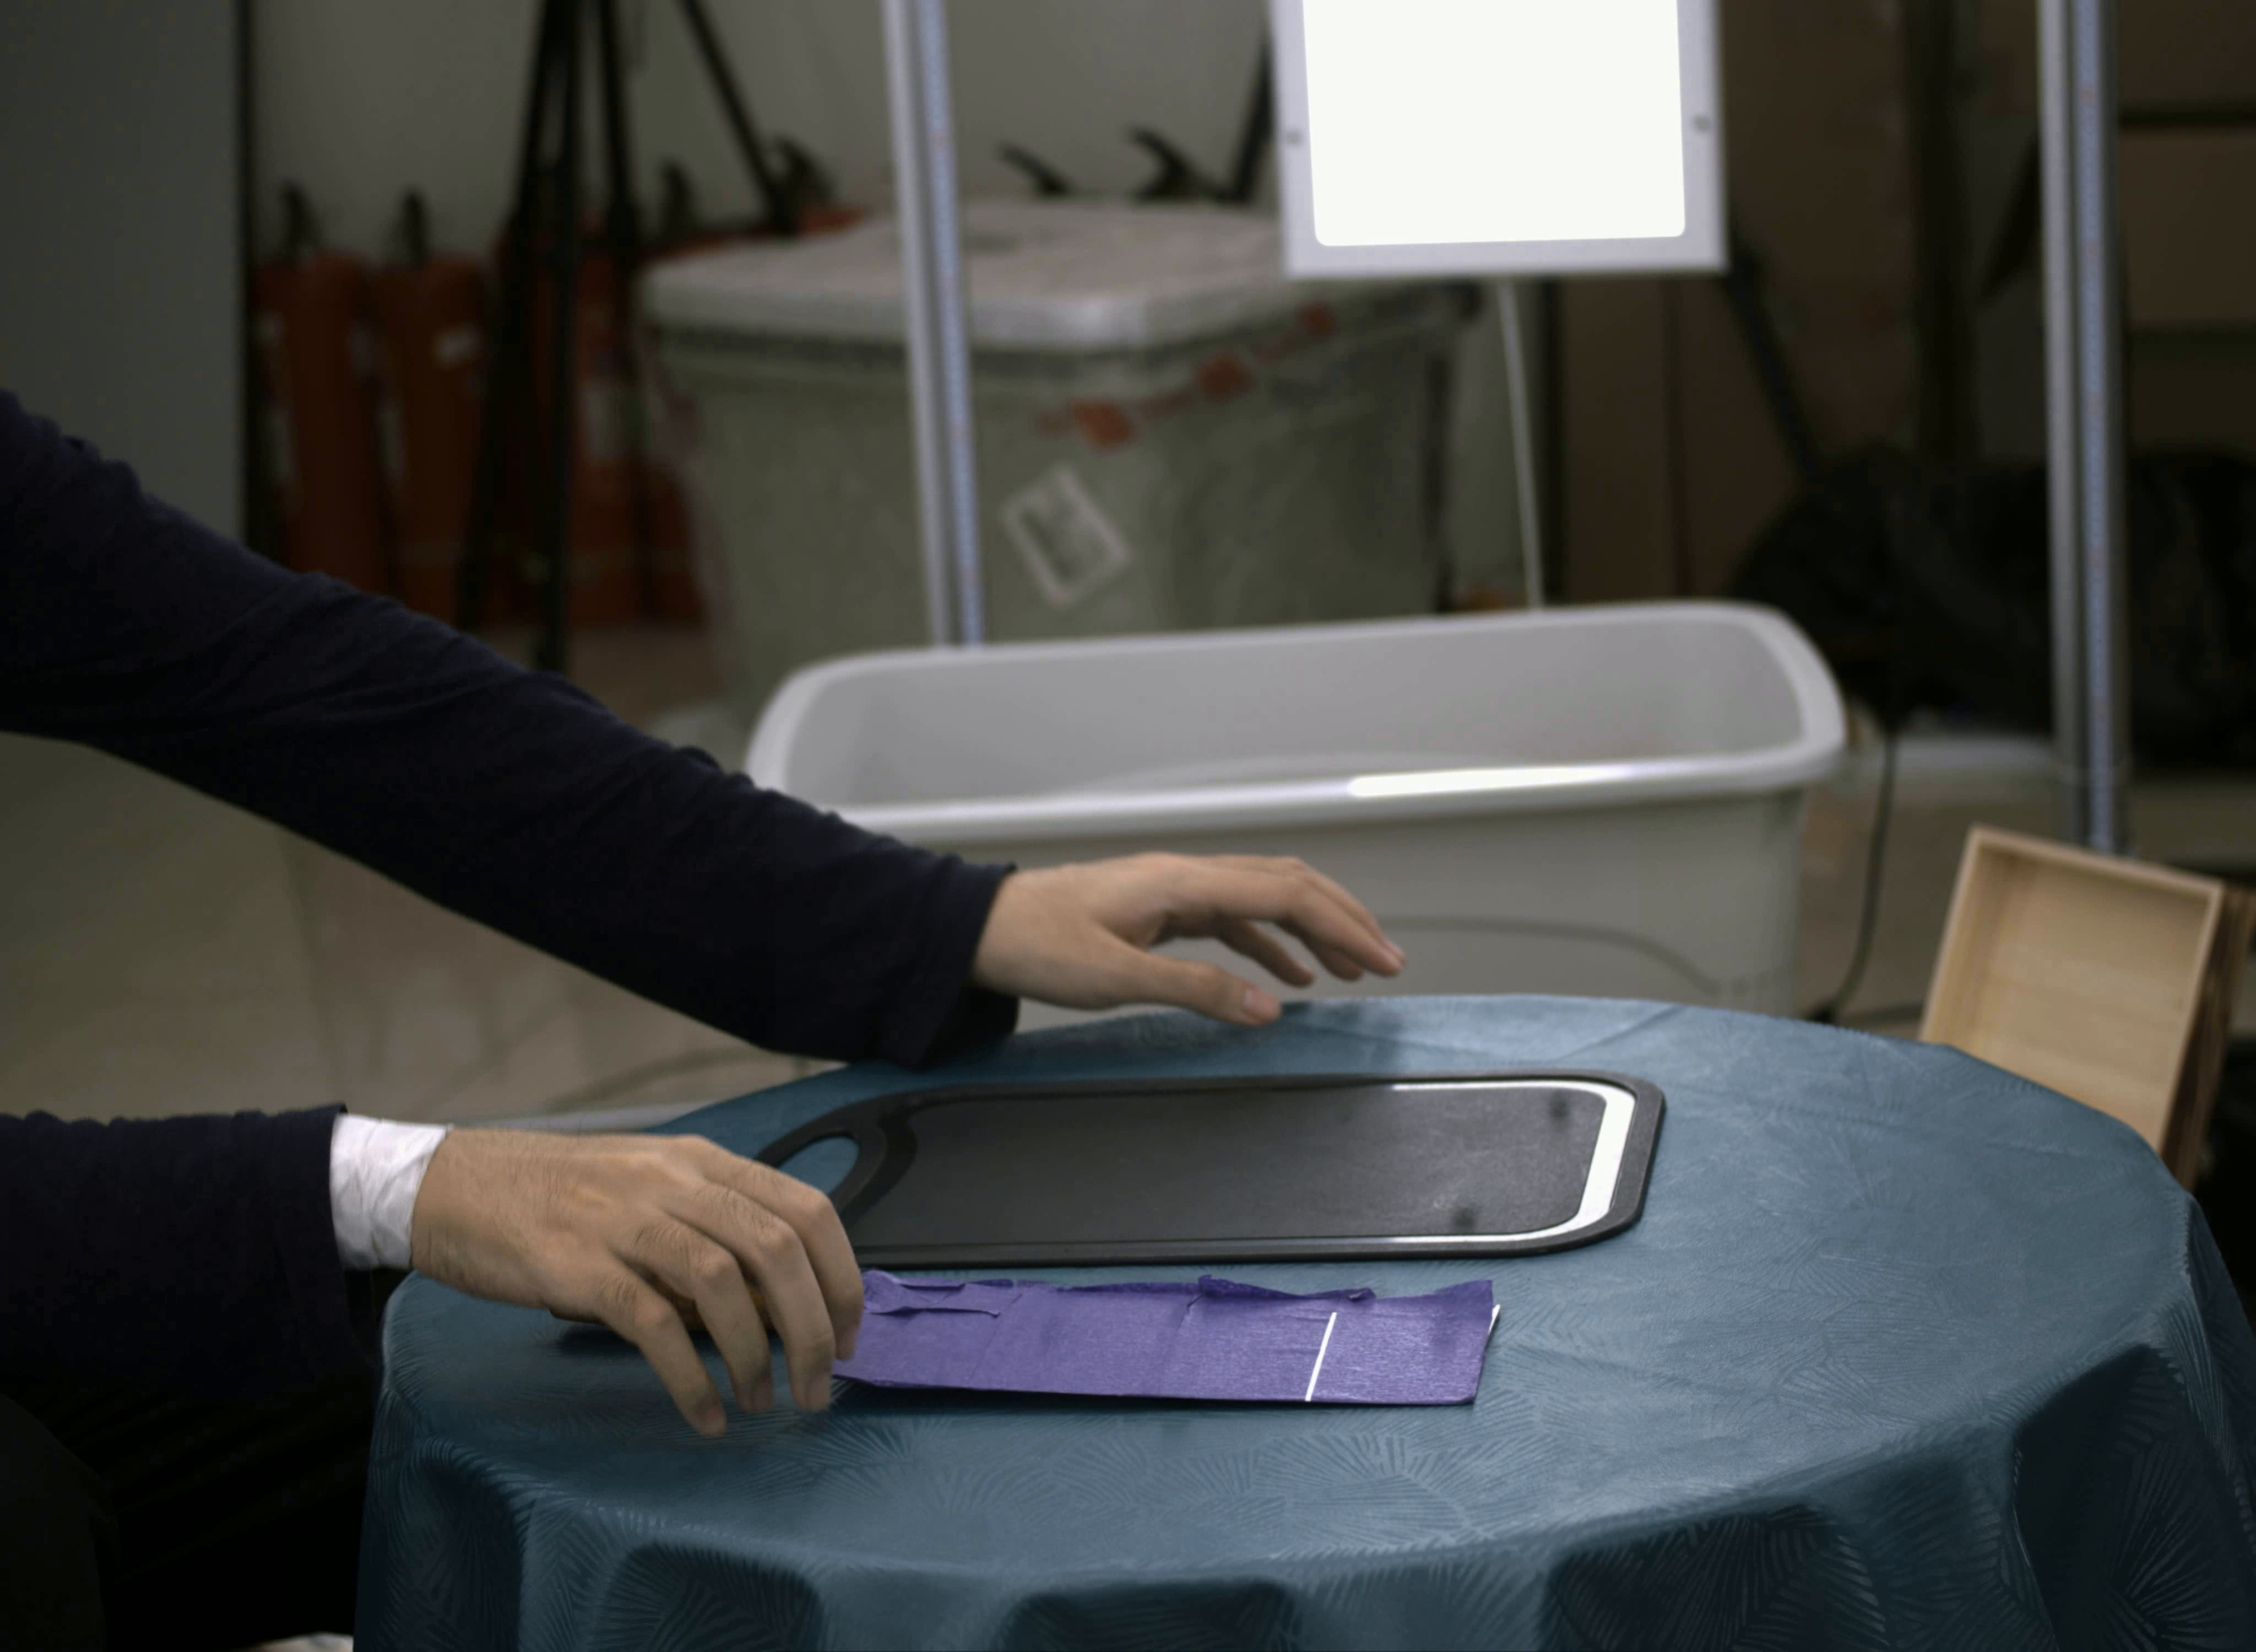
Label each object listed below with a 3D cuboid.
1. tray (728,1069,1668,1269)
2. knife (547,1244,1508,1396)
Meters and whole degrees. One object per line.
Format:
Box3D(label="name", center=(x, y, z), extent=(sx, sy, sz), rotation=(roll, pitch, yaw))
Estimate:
Box3D(label="tray", center=(0.022, 0.117, 1.920), extent=(0.328, 0.010, 0.208), rotation=(-2, 14, 13))
Box3D(label="knife", center=(-0.039, 0.156, 1.740), extent=(0.318, 0.032, 0.102), rotation=(-2, 14, 13))
